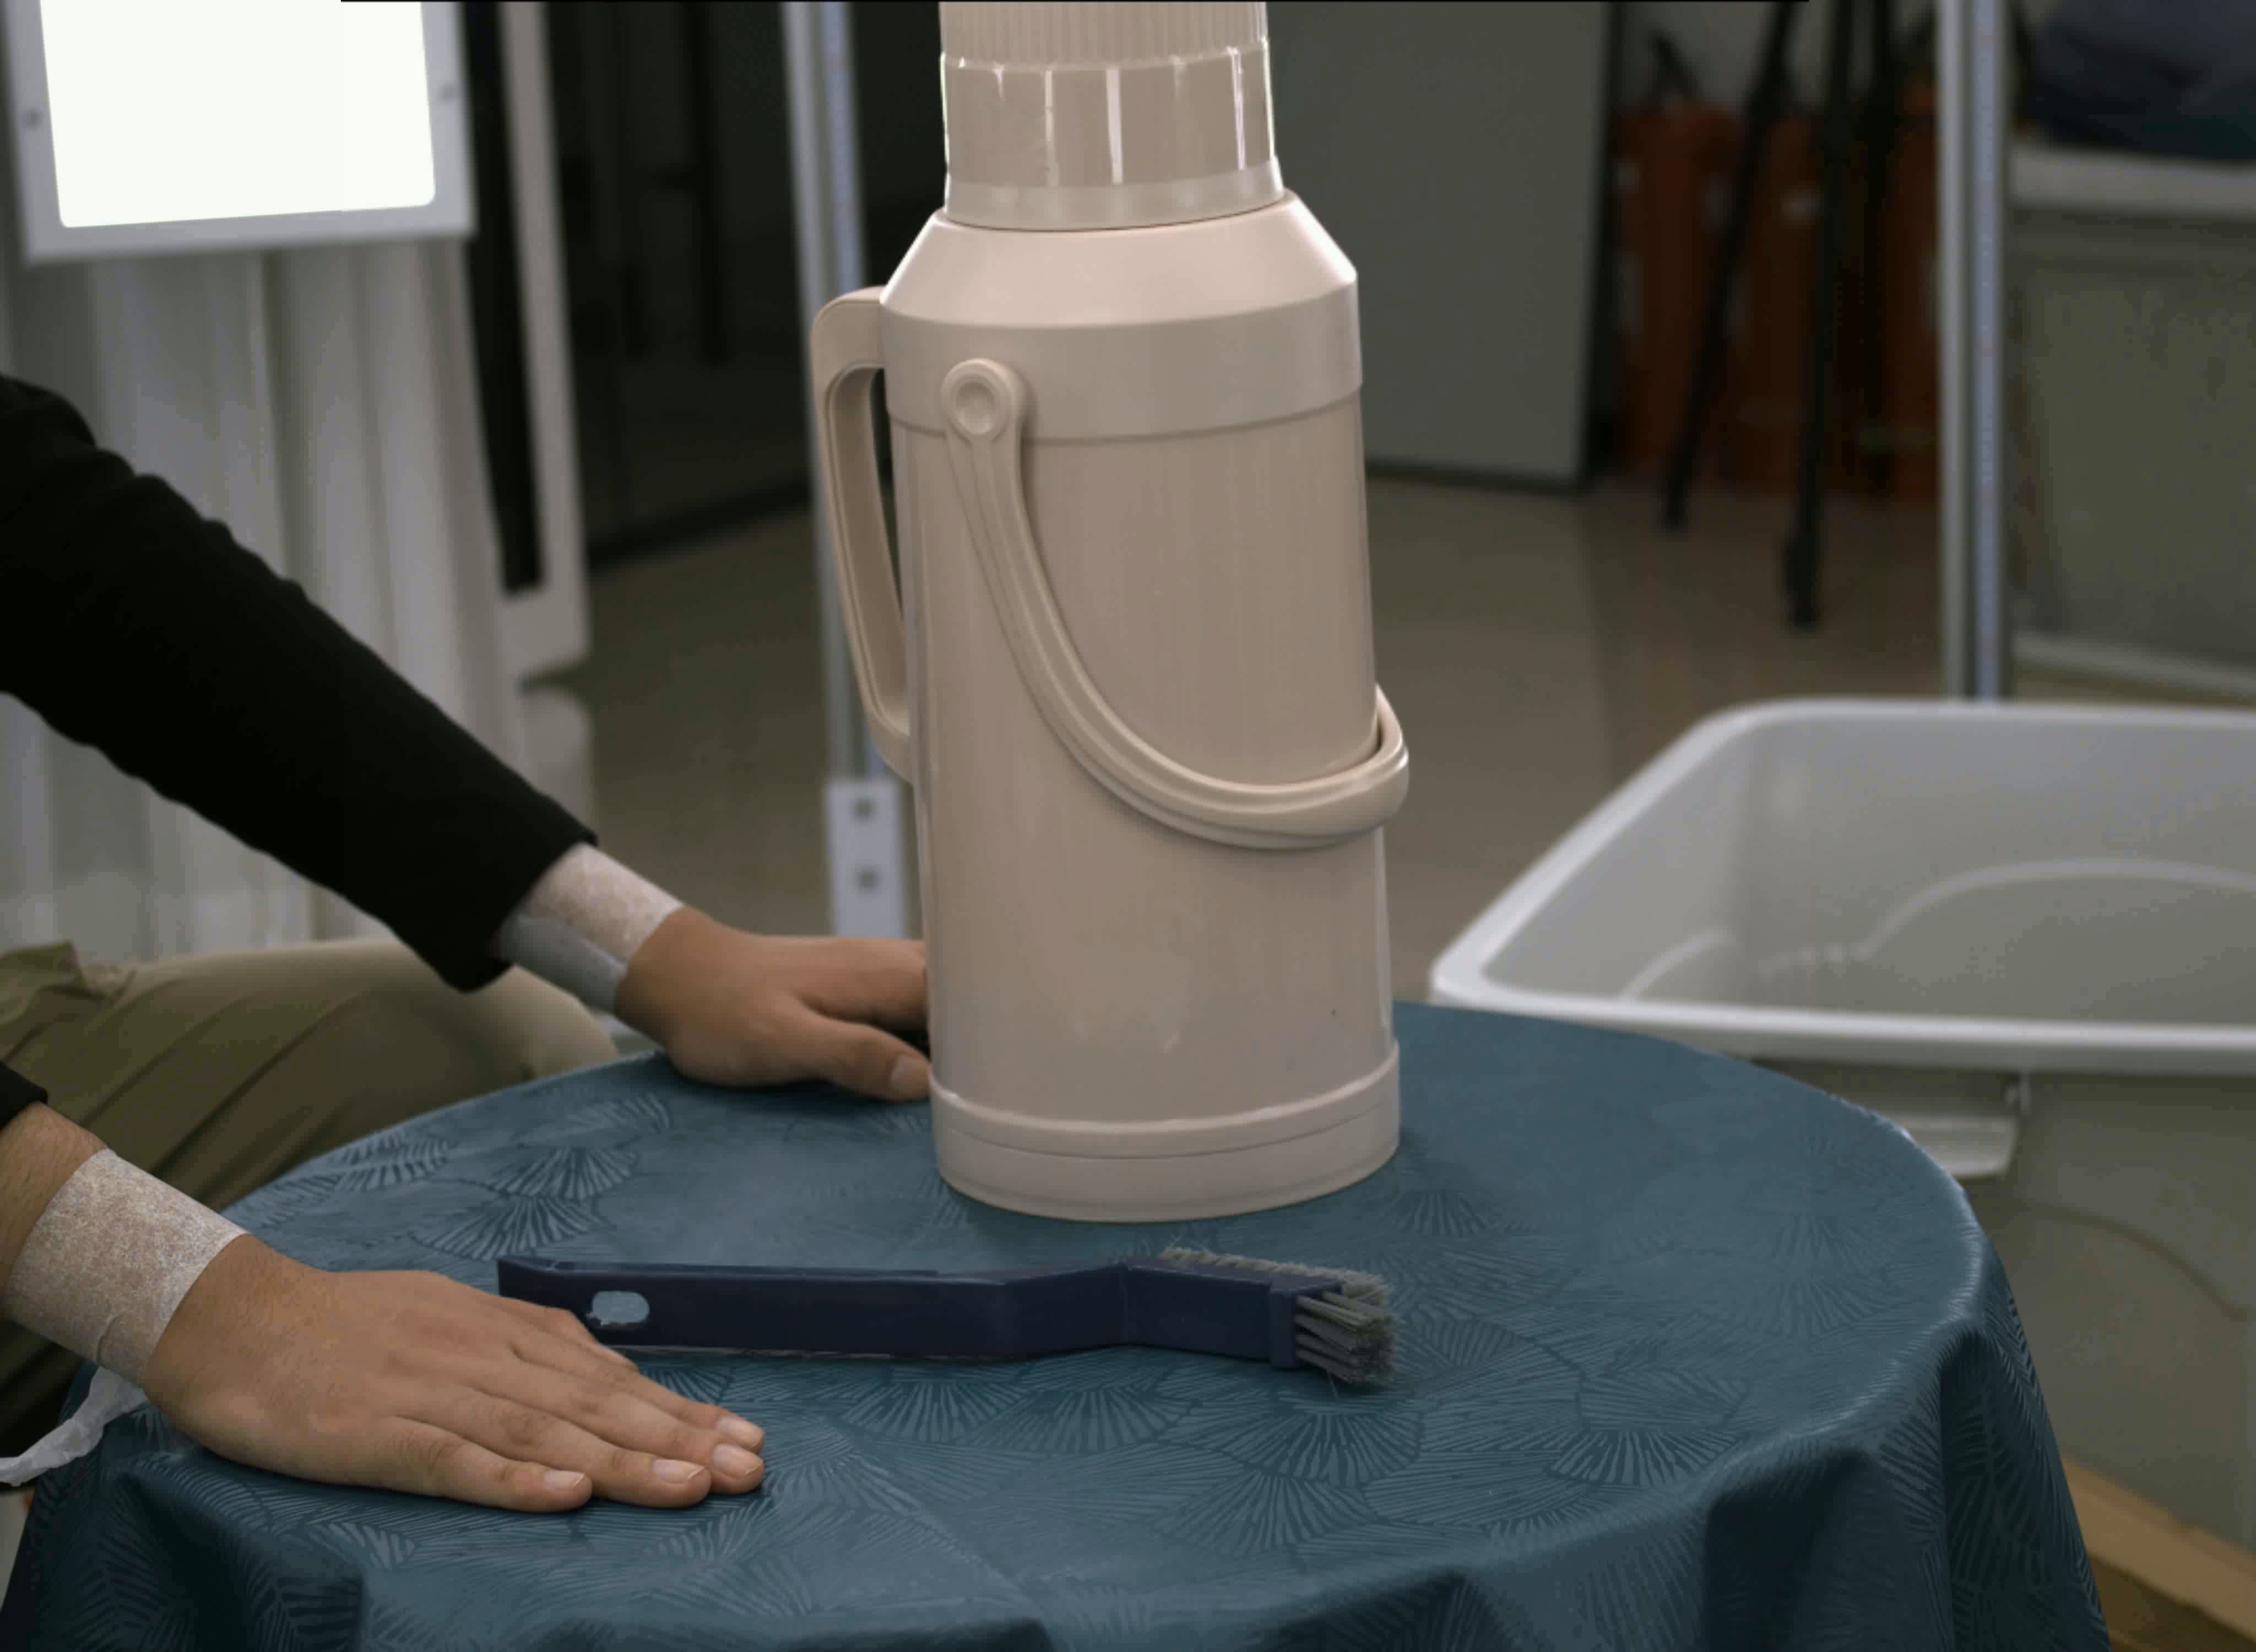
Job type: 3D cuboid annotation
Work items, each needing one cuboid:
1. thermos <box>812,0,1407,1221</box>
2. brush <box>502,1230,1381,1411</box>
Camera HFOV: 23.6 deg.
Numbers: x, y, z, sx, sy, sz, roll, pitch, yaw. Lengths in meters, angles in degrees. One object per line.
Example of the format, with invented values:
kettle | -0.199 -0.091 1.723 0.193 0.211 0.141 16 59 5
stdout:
thermos | -0.009 -0.086 1.777 0.208 0.410 0.172 5 17 32
brush | -0.059 0.146 1.614 0.270 0.034 0.095 0 13 6
